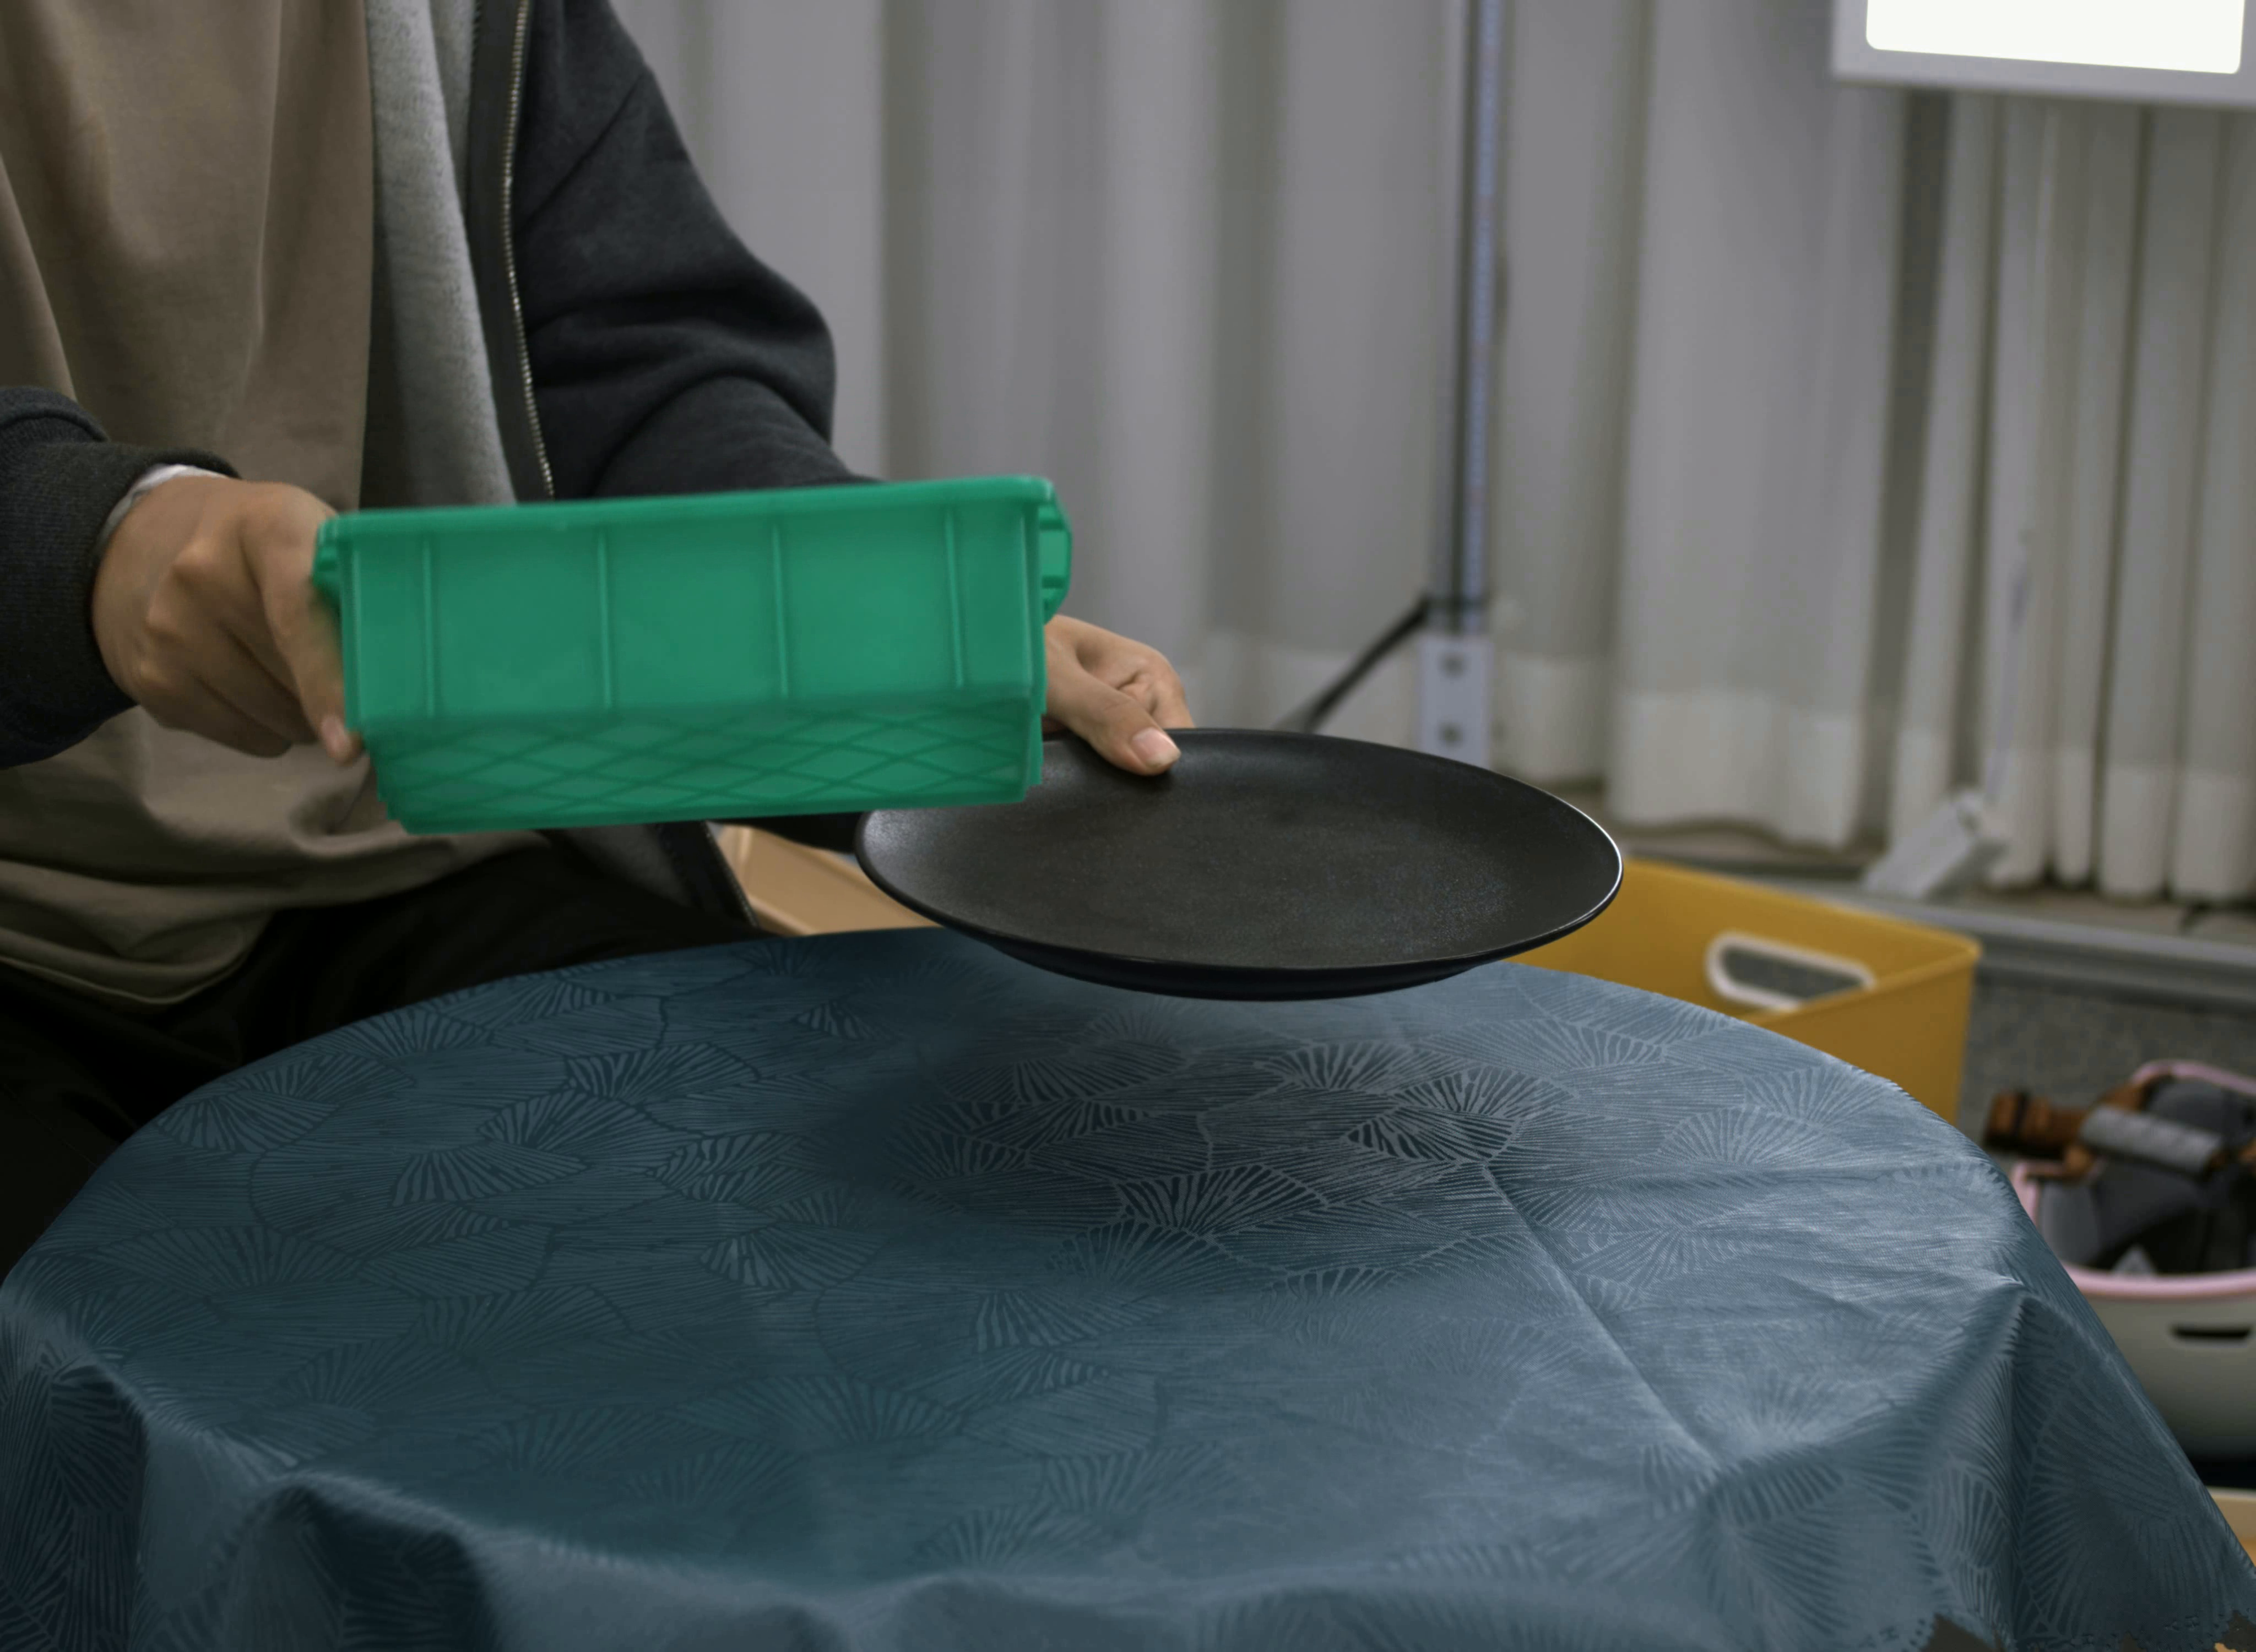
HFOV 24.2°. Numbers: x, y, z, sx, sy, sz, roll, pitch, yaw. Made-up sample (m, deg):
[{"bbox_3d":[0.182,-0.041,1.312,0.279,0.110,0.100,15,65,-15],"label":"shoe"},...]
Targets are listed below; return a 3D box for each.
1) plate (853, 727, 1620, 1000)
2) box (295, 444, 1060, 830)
[{"bbox_3d":[0.034,0.014,1.670,0.243,0.023,0.243,2,18,0],"label":"plate"},{"bbox_3d":[-0.121,-0.049,1.455,0.210,0.065,0.139,-5,-16,-5],"label":"box"}]
